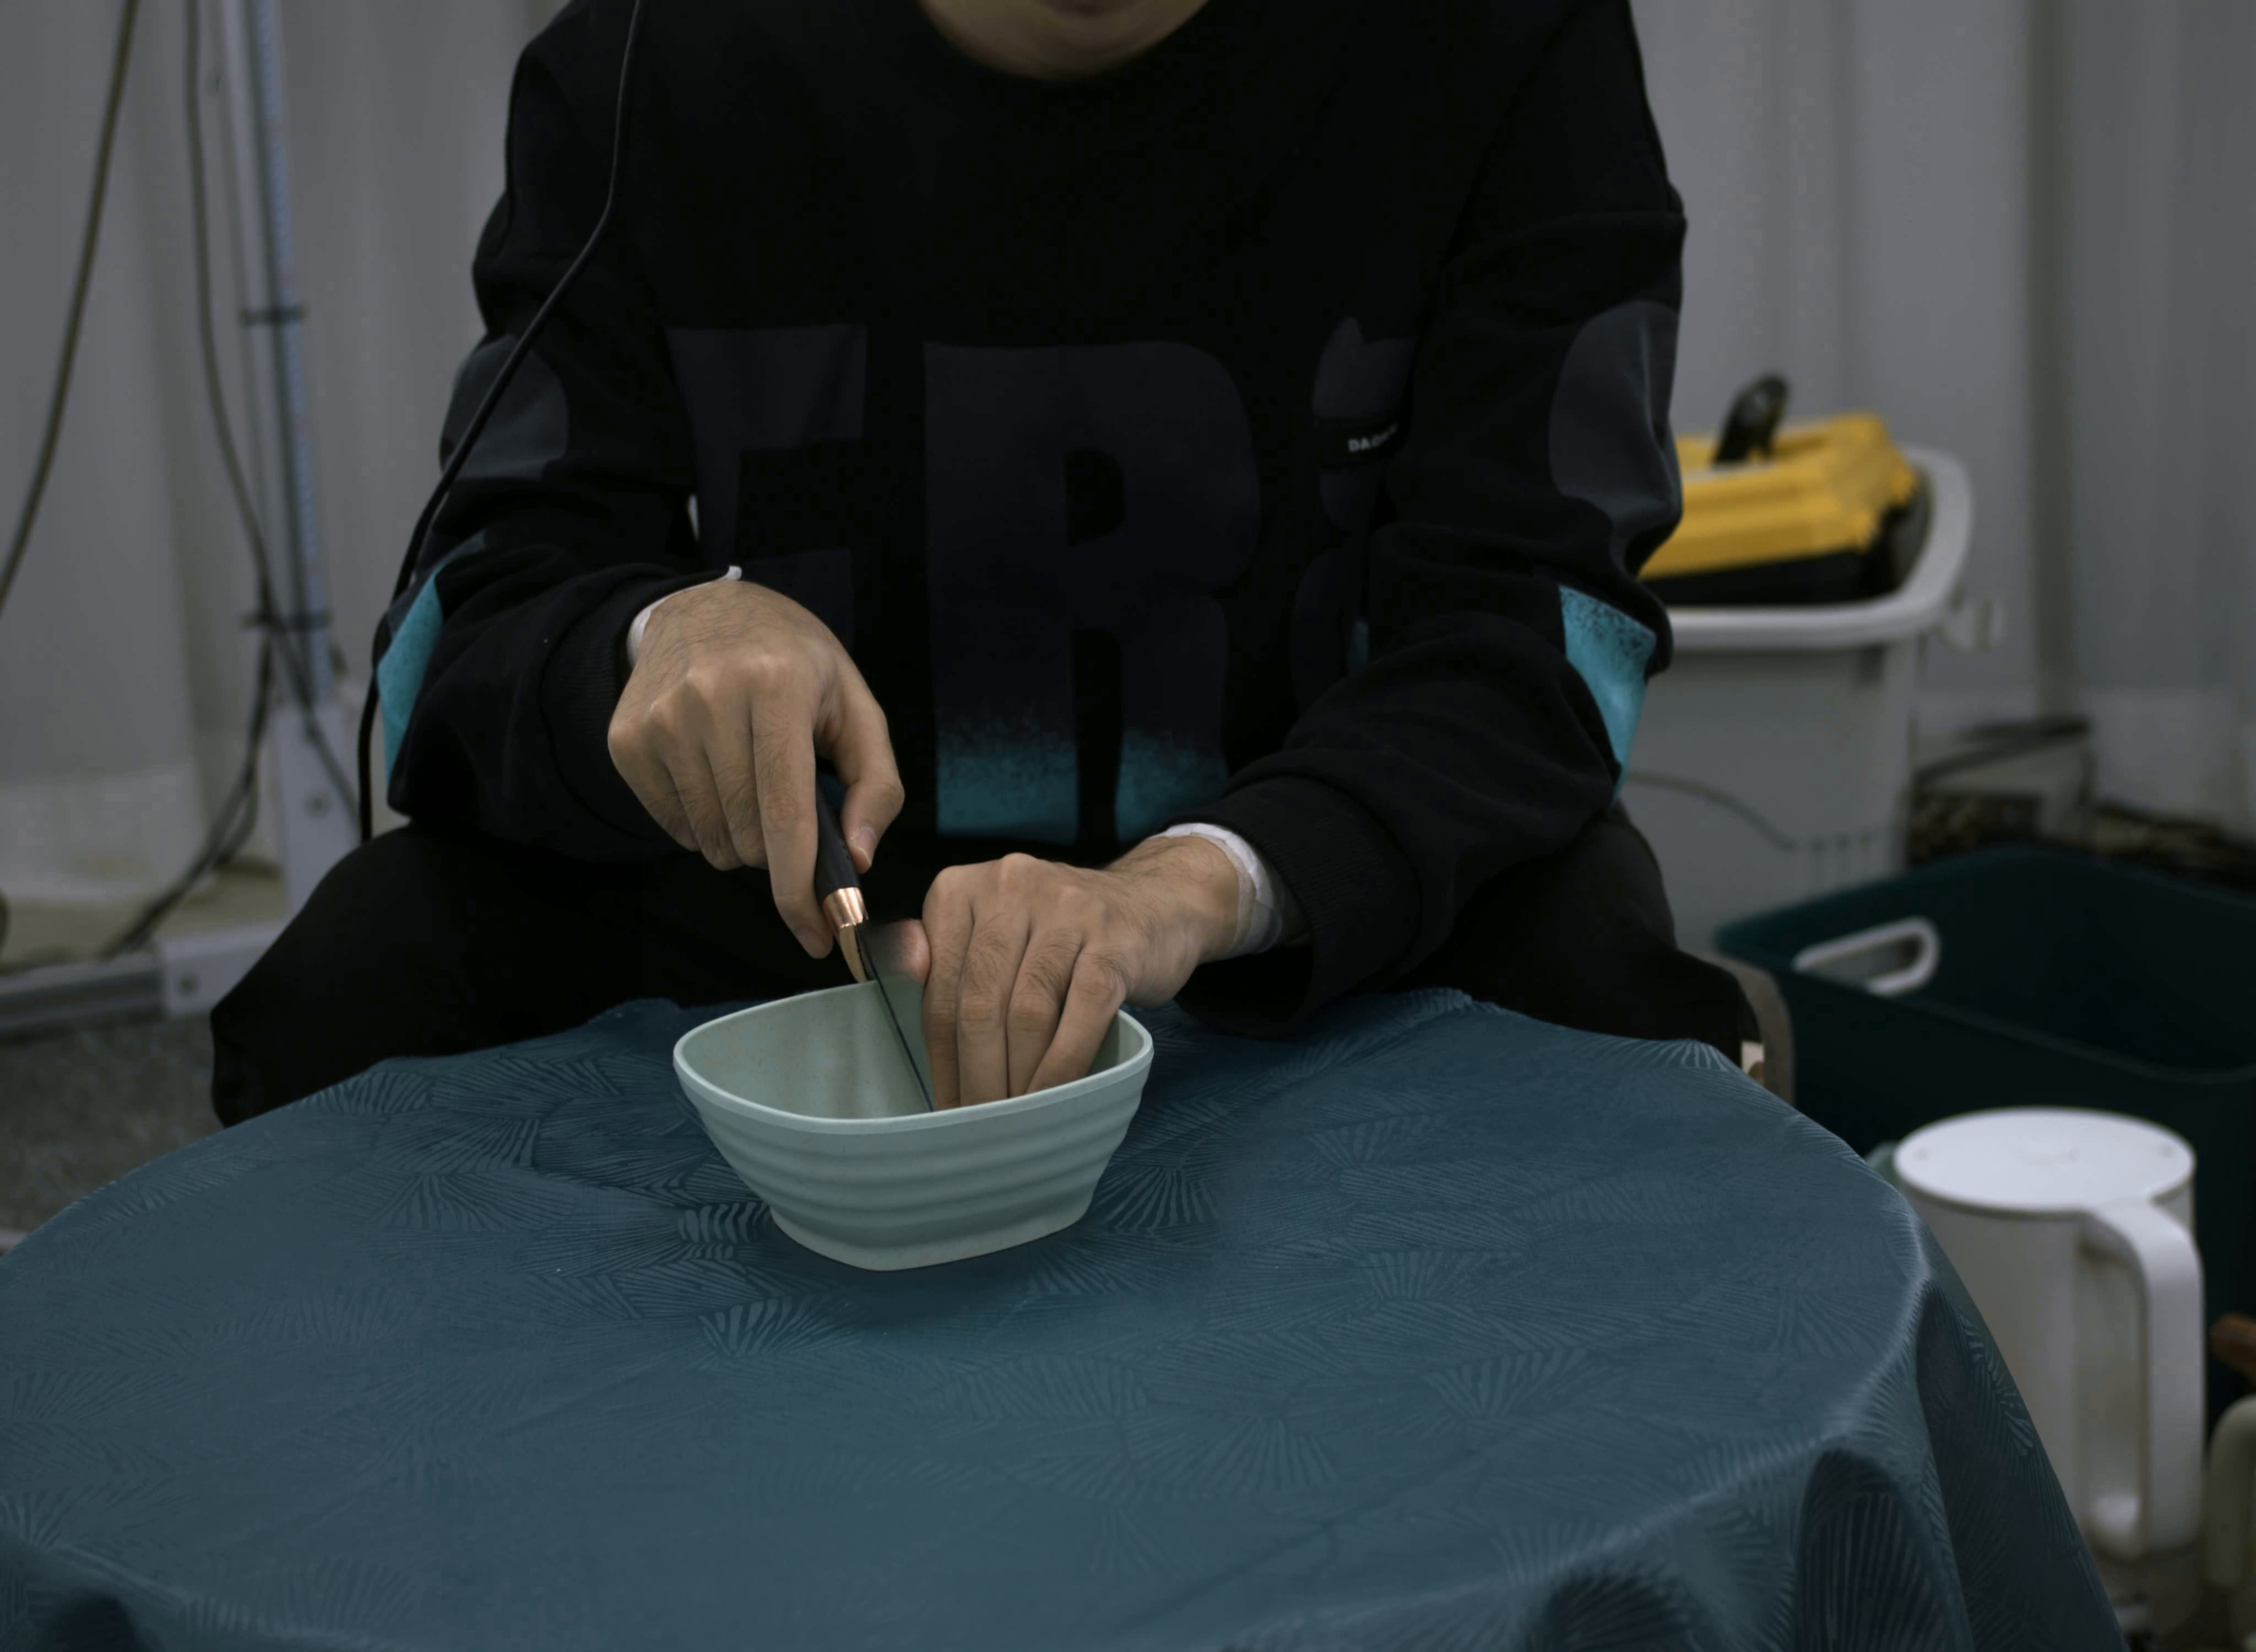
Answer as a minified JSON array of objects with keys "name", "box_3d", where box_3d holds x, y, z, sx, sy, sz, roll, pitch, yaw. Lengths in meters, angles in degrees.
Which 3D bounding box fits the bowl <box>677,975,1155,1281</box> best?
[{"name":"bowl","box_3d":[-0.064,0.096,1.693,0.151,0.058,0.152,-4,15,1]}]

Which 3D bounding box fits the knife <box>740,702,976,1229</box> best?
[{"name":"knife","box_3d":[-0.085,0.041,1.732,0.017,0.026,0.229,-14,47,-14]}]
